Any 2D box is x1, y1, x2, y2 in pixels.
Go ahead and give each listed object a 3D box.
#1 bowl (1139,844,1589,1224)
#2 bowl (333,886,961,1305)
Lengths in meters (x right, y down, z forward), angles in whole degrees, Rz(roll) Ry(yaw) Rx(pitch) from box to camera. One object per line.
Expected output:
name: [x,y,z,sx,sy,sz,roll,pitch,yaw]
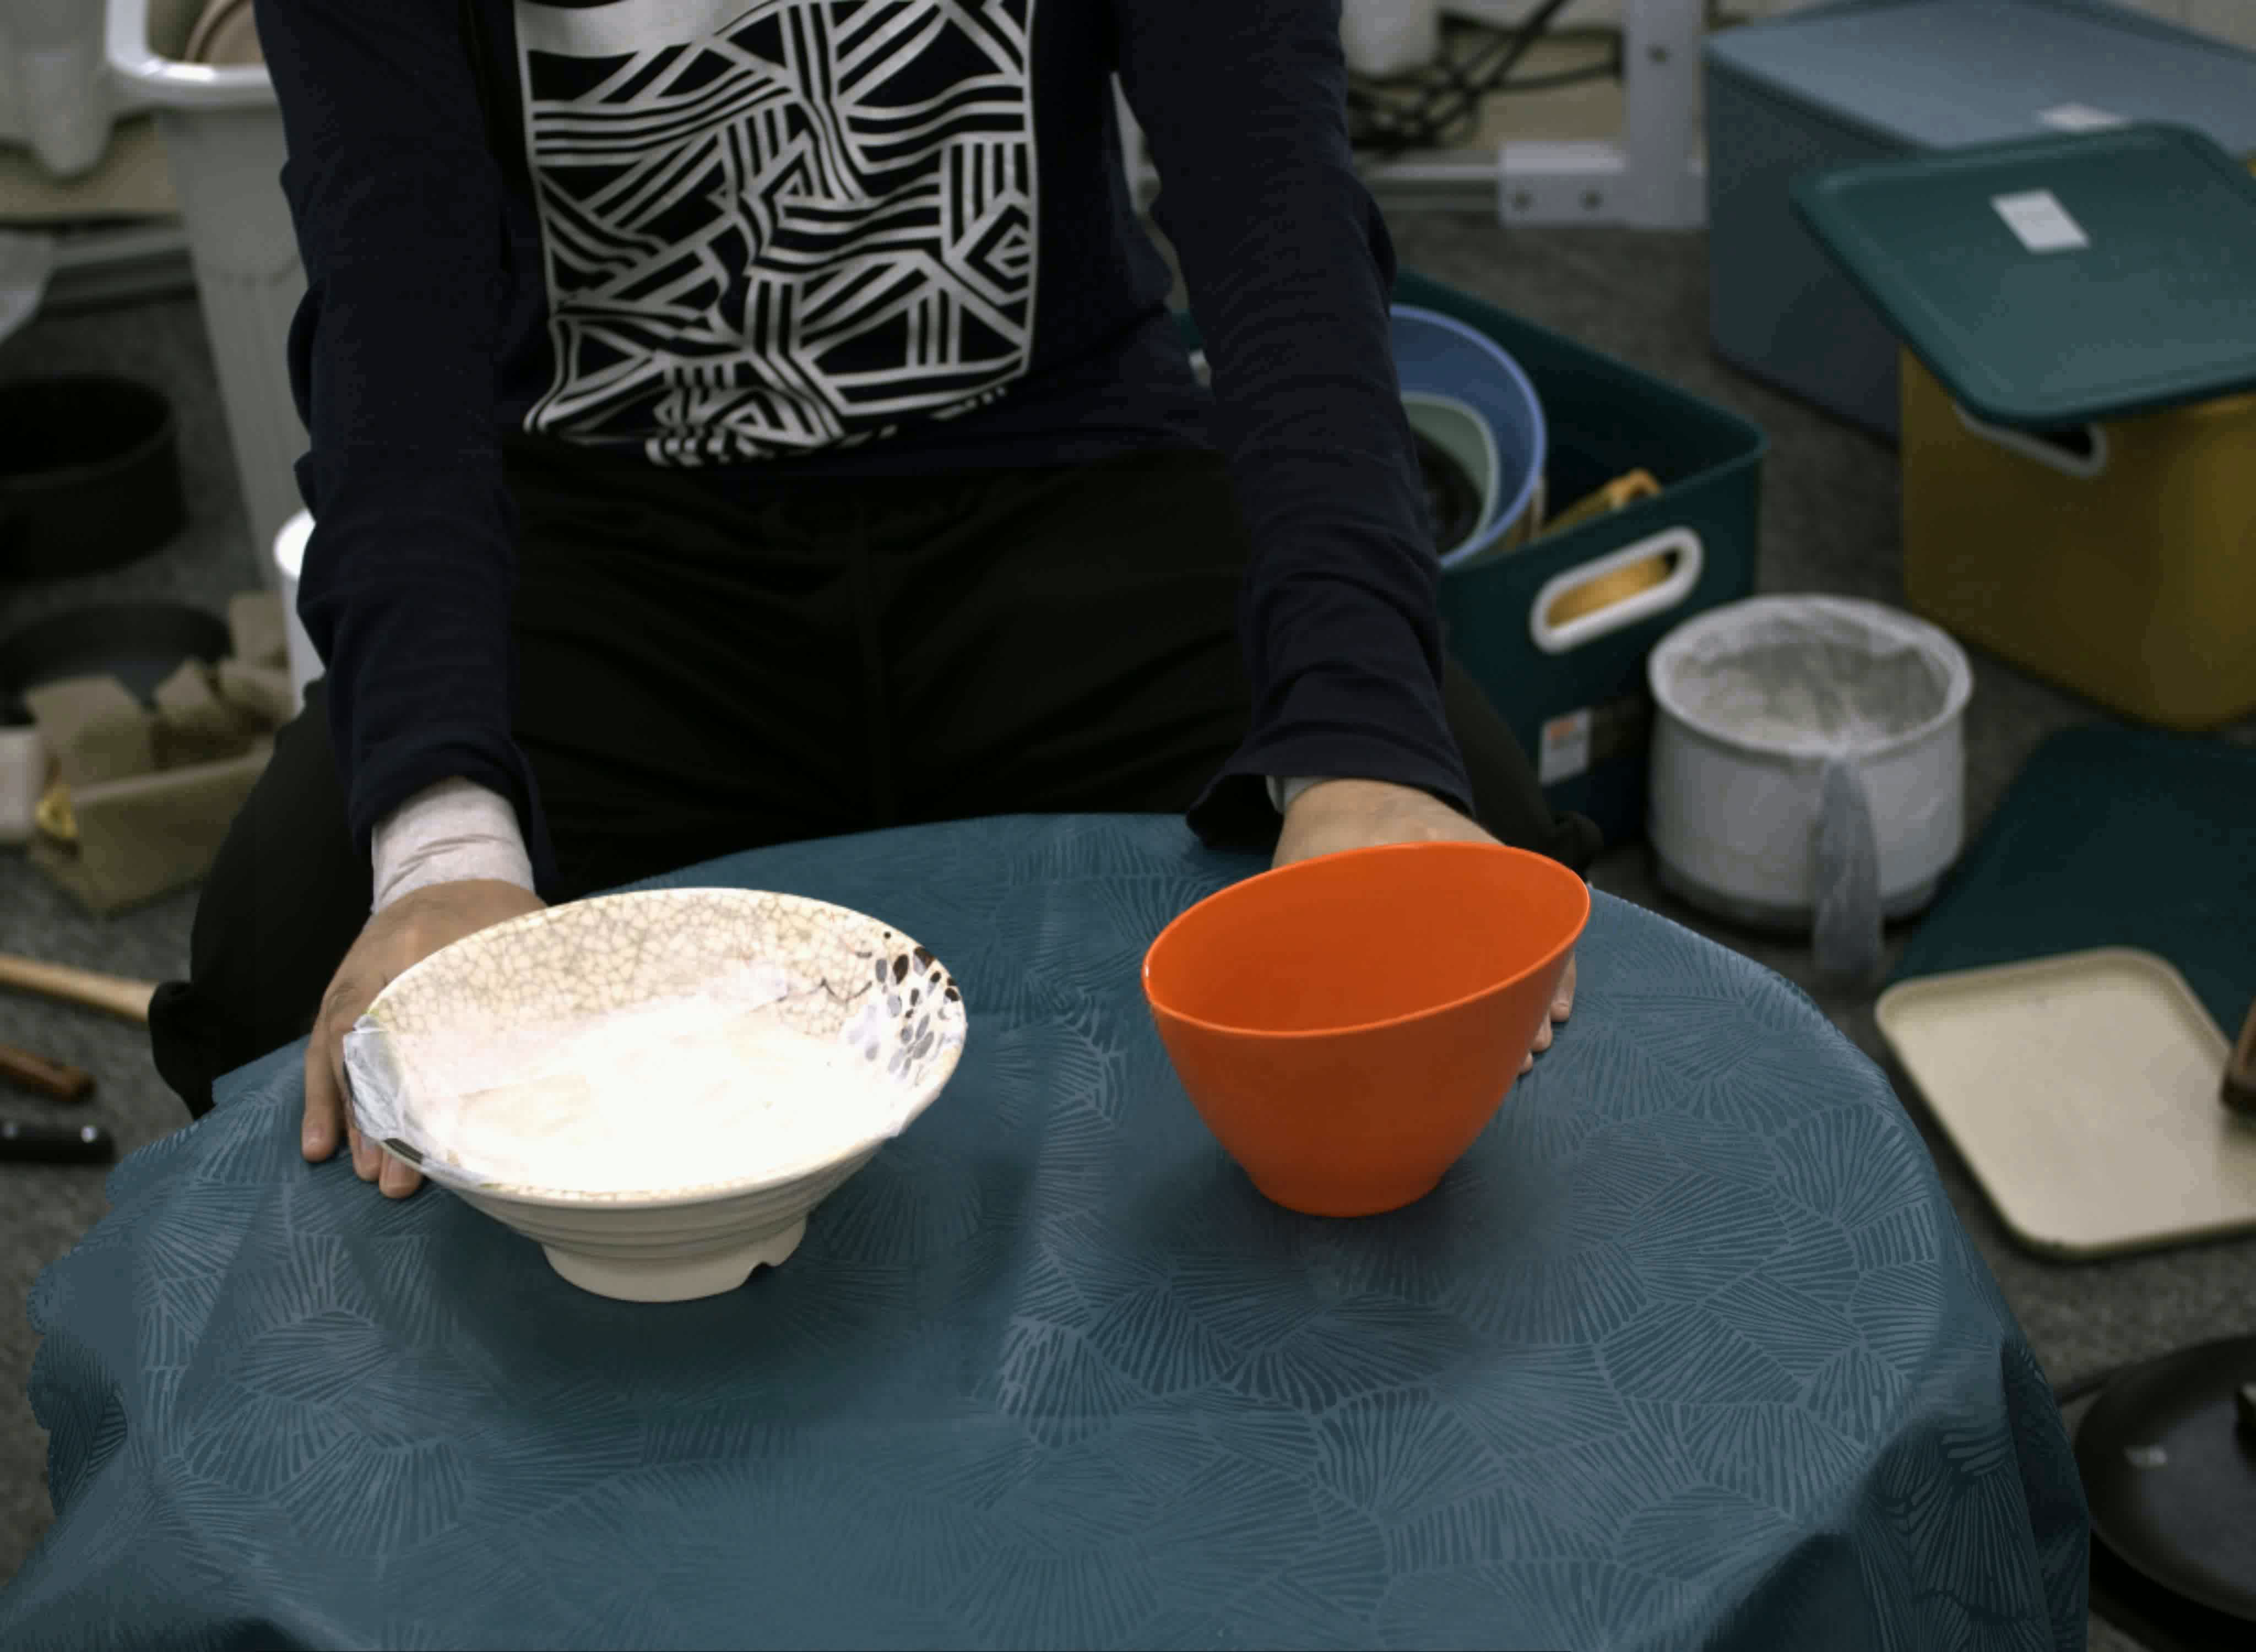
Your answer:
bowl: [0.078,0.073,1.841,0.147,0.103,0.150,-3,26,2]
bowl: [-0.154,0.101,1.833,0.203,0.077,0.207,-2,27,1]
